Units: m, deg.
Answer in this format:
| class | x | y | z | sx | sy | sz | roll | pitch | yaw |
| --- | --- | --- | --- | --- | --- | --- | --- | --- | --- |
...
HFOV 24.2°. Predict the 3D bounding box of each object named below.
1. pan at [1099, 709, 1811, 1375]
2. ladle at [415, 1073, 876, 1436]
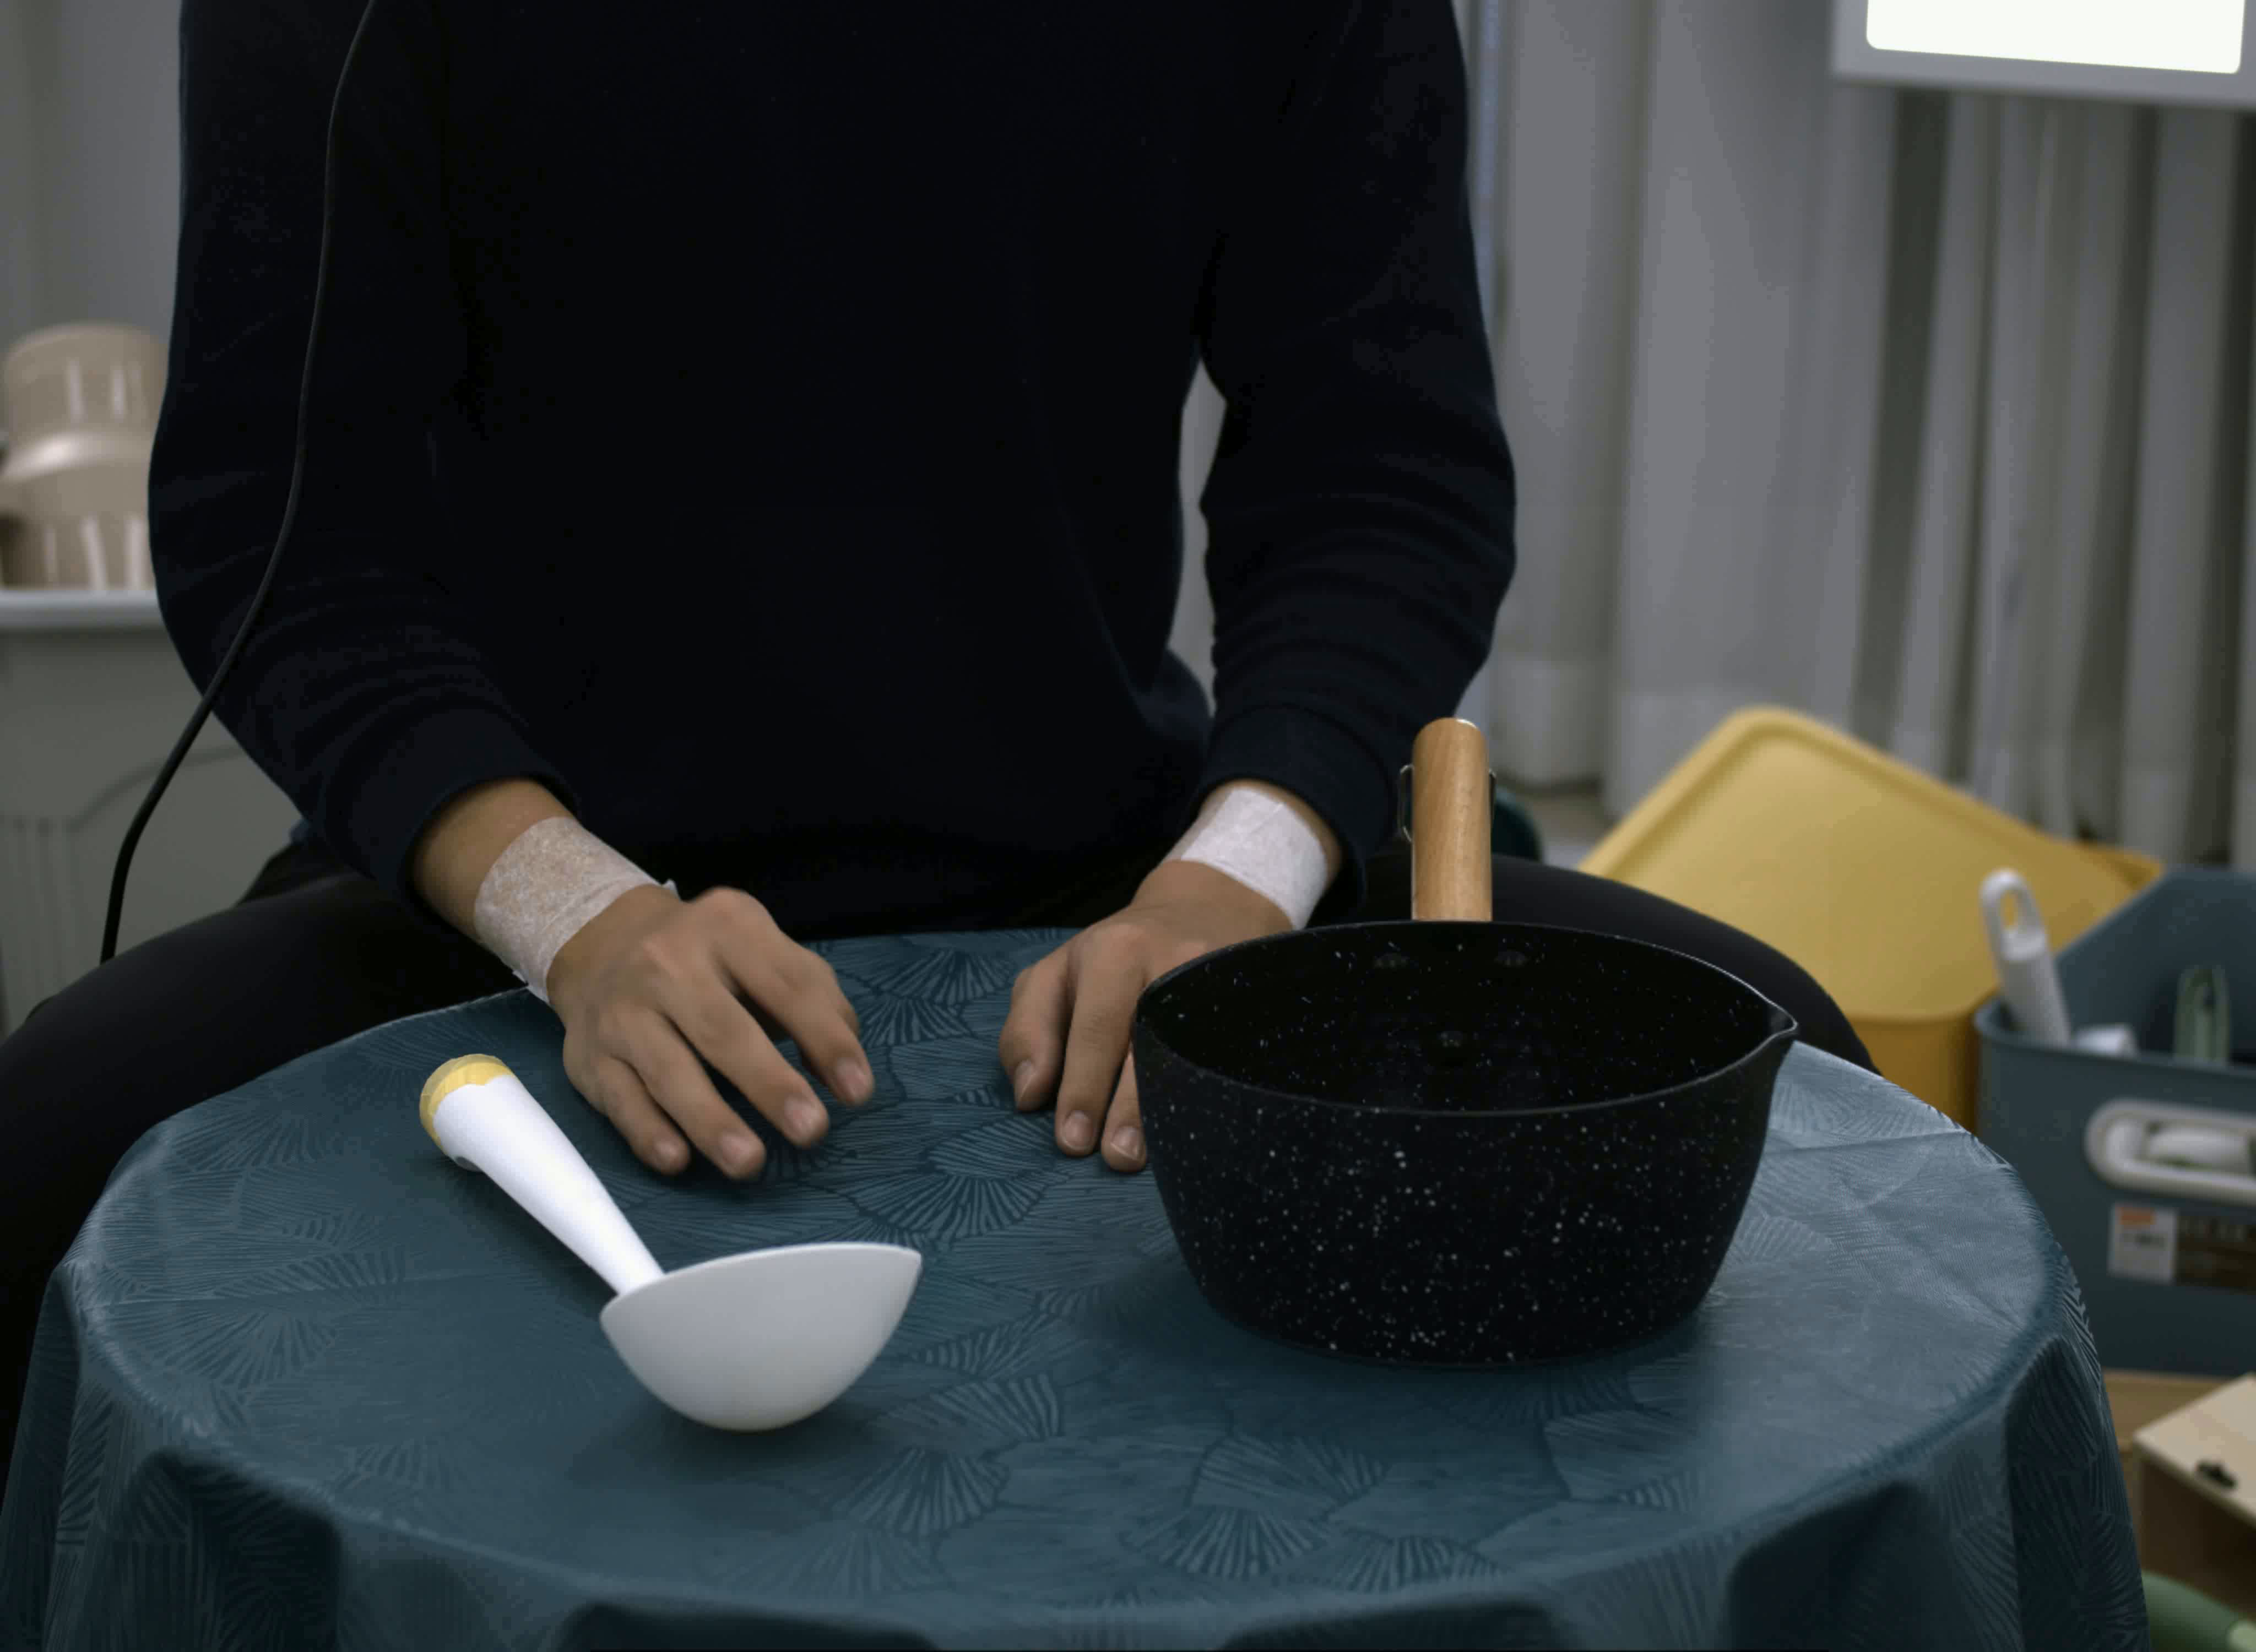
| class | x | y | z | sx | sy | sz | roll | pitch | yaw |
| --- | --- | --- | --- | --- | --- | --- | --- | --- | --- |
| pan | 0.097 | 0.060 | 1.609 | 0.207 | 0.109 | 0.341 | 0 | 17 | 2 |
| ladle | -0.154 | 0.108 | 1.514 | 0.090 | 0.070 | 0.289 | -12 | 18 | -20 |
